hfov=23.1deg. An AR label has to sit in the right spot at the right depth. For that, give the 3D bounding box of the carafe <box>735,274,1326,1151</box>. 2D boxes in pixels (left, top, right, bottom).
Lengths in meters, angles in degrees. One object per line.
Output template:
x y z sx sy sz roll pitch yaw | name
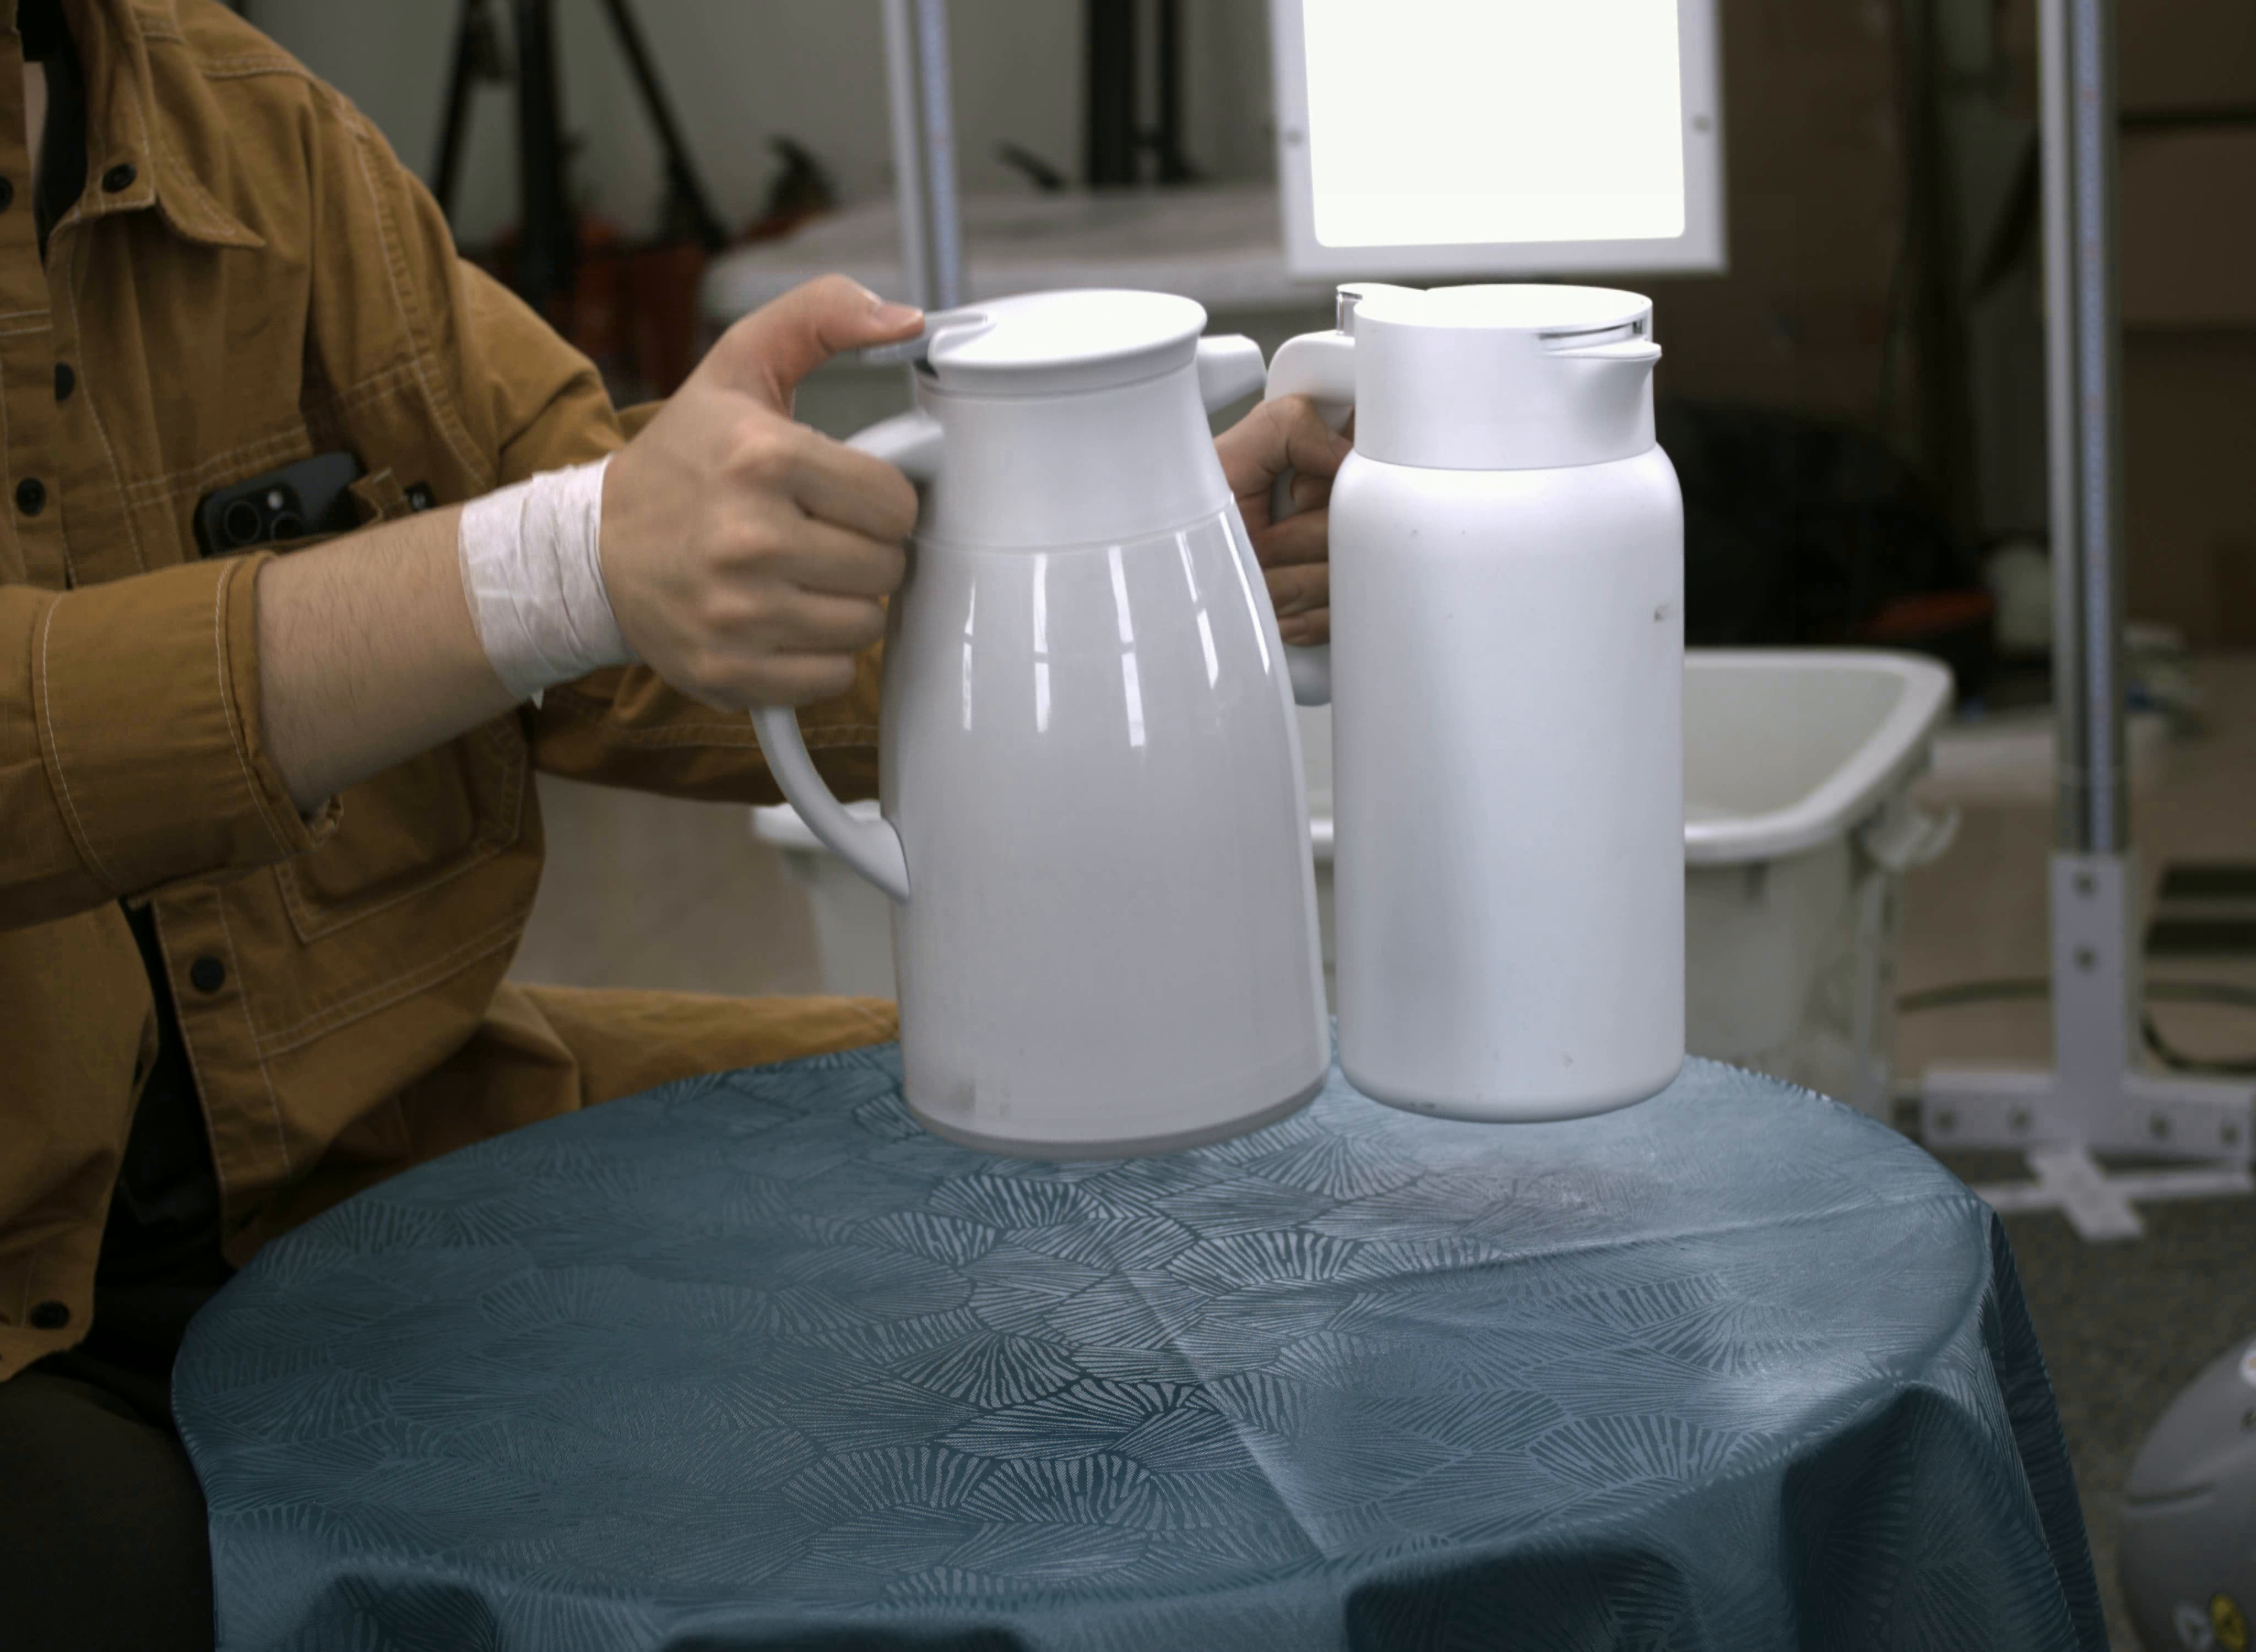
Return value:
-0.032 -0.037 1.649 0.165 0.249 0.134 -11 17 -16 | carafe

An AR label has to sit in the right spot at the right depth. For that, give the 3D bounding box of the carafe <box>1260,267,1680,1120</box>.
0.112 -0.047 1.825 0.121 0.270 0.176 -15 18 -38 | carafe
